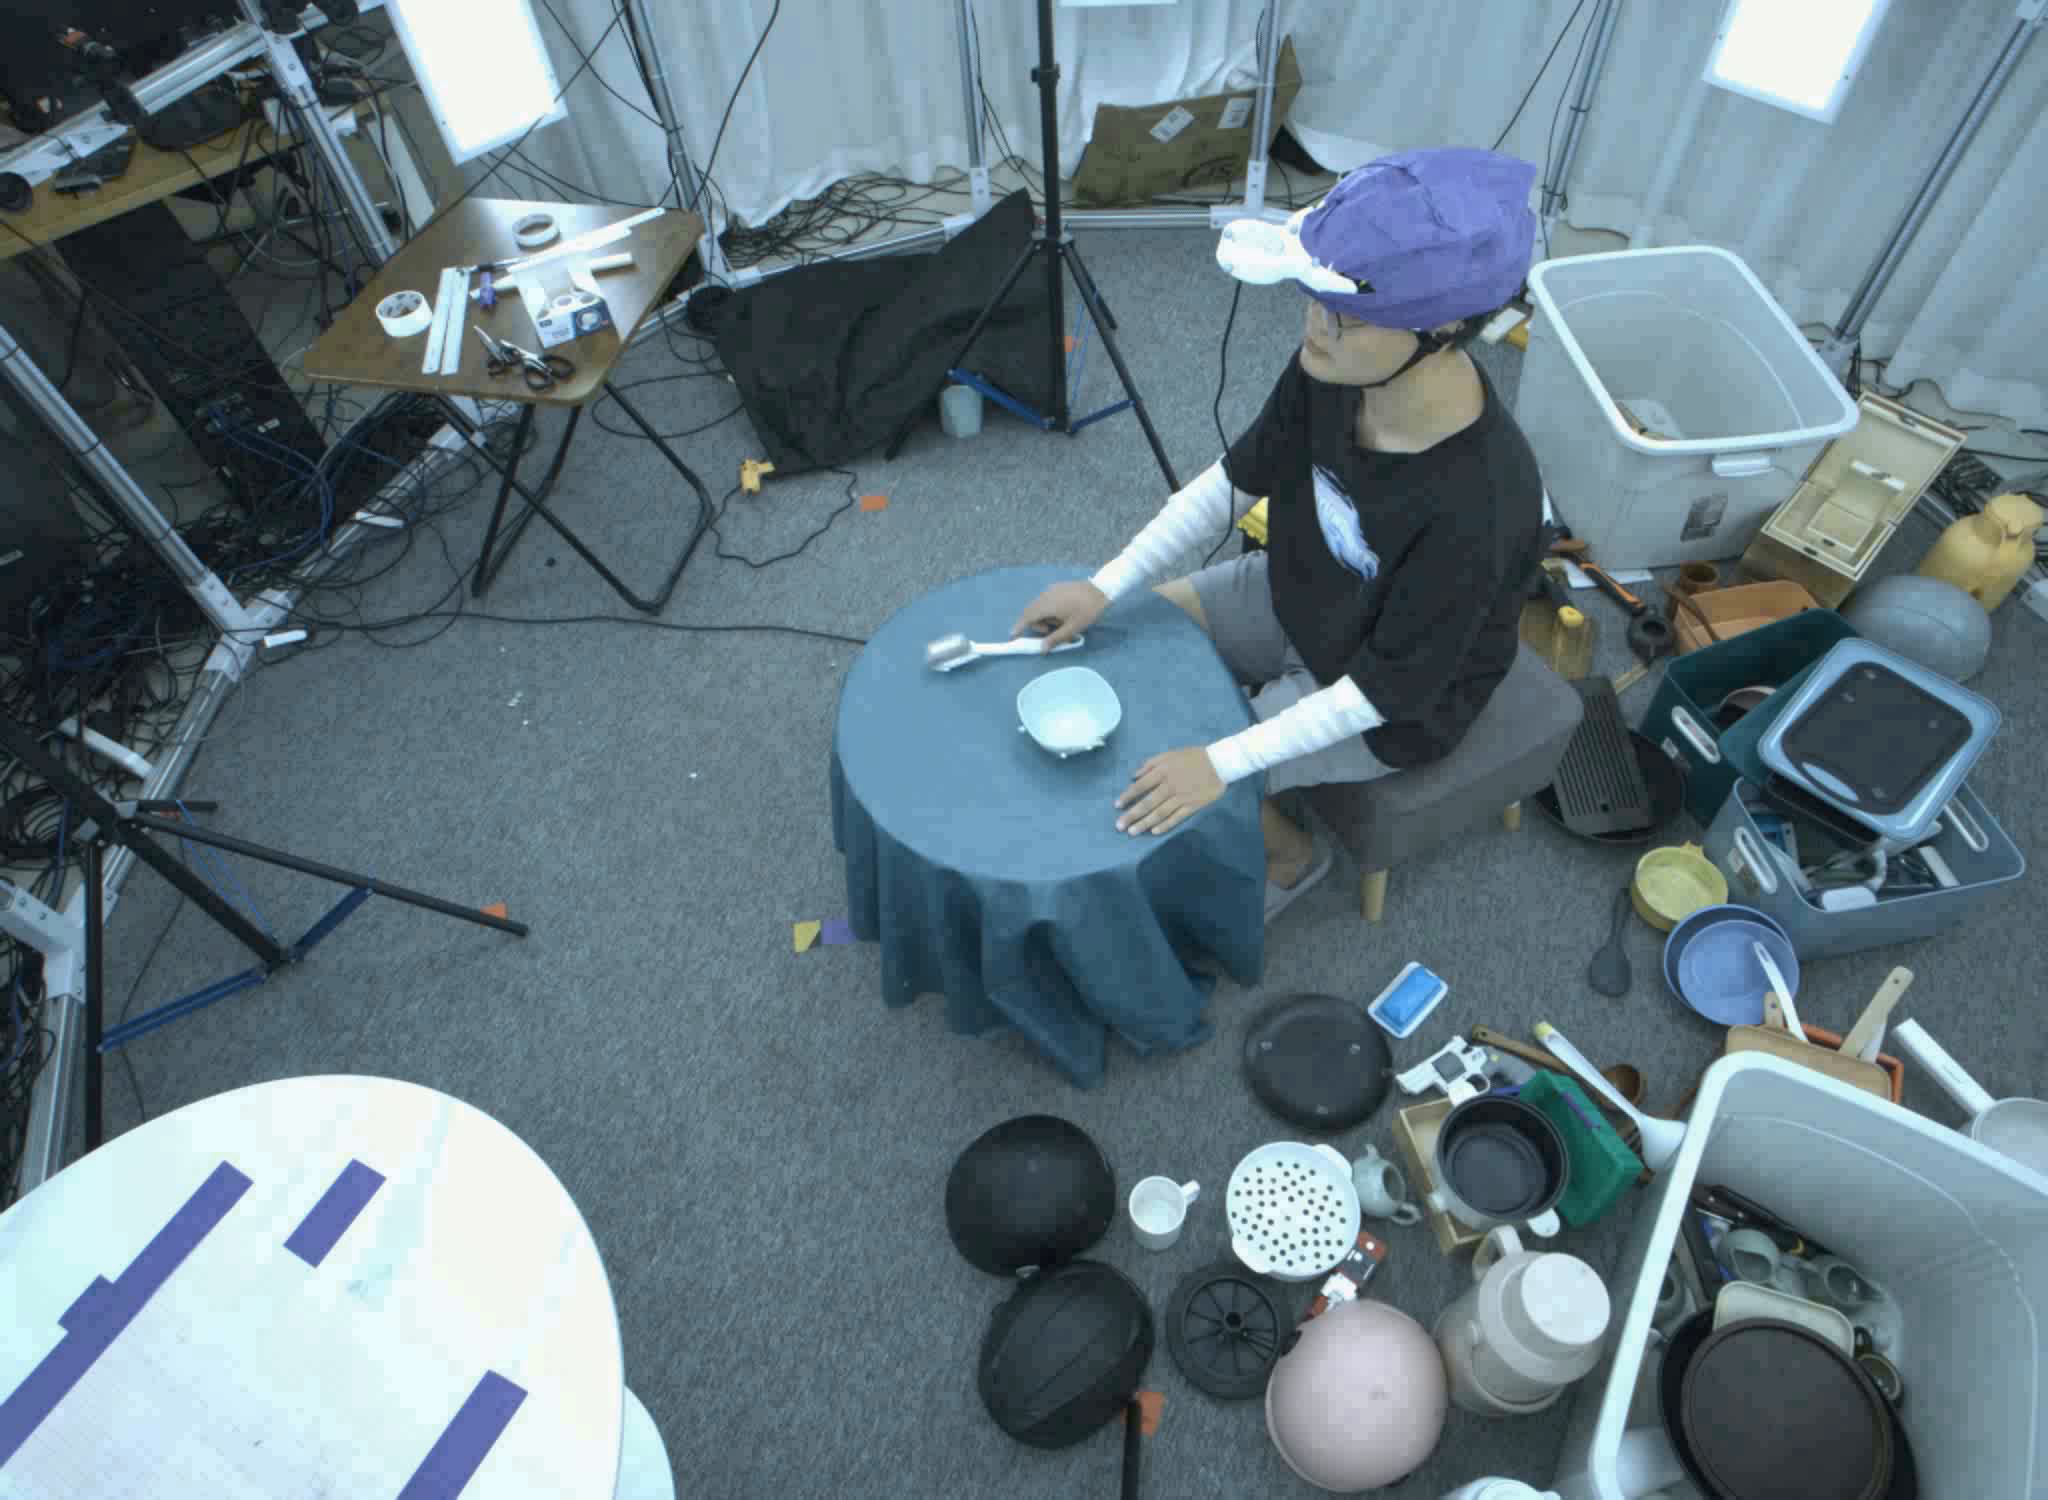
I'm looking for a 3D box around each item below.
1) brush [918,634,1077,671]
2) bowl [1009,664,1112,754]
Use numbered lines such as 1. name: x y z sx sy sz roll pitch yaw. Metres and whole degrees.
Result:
1. brush: -0.040 -0.162 1.865 0.244 0.051 0.034 -9 57 -3
2. bowl: 0.053 -0.049 1.777 0.151 0.059 0.150 0 56 2
